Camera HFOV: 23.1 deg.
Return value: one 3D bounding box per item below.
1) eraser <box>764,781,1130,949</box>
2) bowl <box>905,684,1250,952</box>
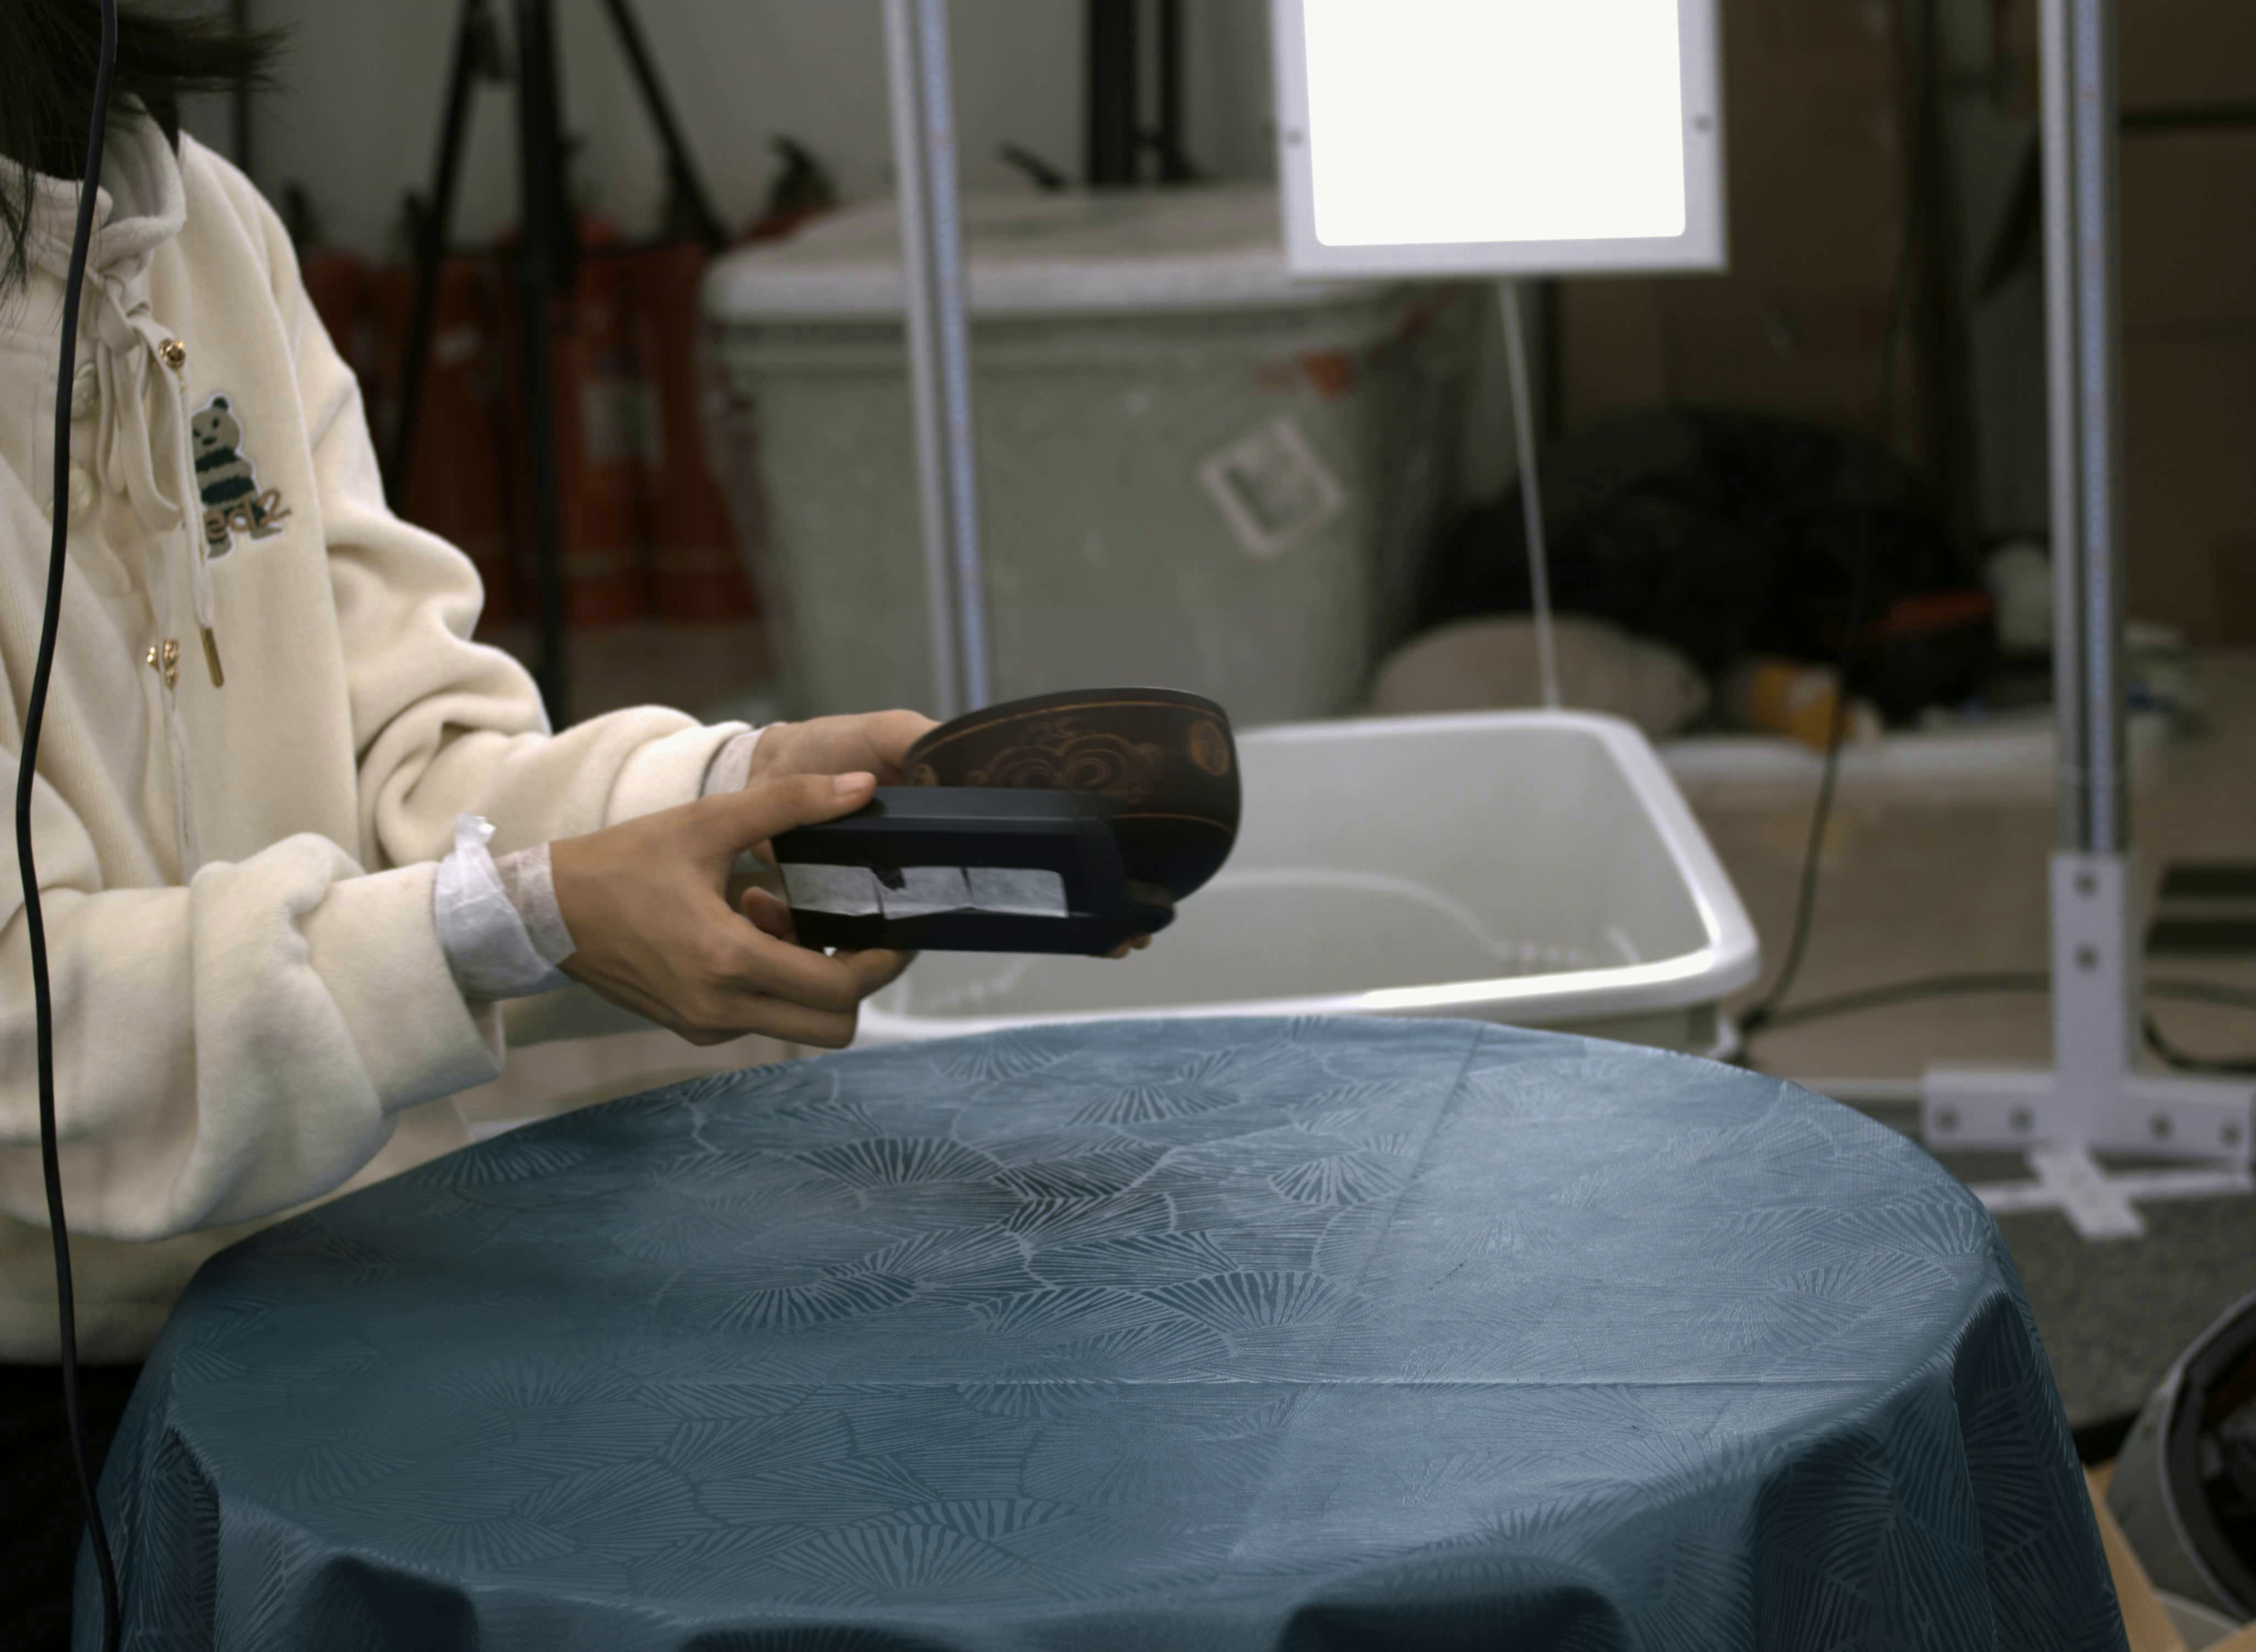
[{"bbox_3d":[-0.060,0.012,1.834,0.128,0.053,0.030,0,24,34],"label":"eraser"},{"bbox_3d":[-0.014,0.002,1.881,0.117,0.070,0.118,-9,-16,-4],"label":"bowl"}]
